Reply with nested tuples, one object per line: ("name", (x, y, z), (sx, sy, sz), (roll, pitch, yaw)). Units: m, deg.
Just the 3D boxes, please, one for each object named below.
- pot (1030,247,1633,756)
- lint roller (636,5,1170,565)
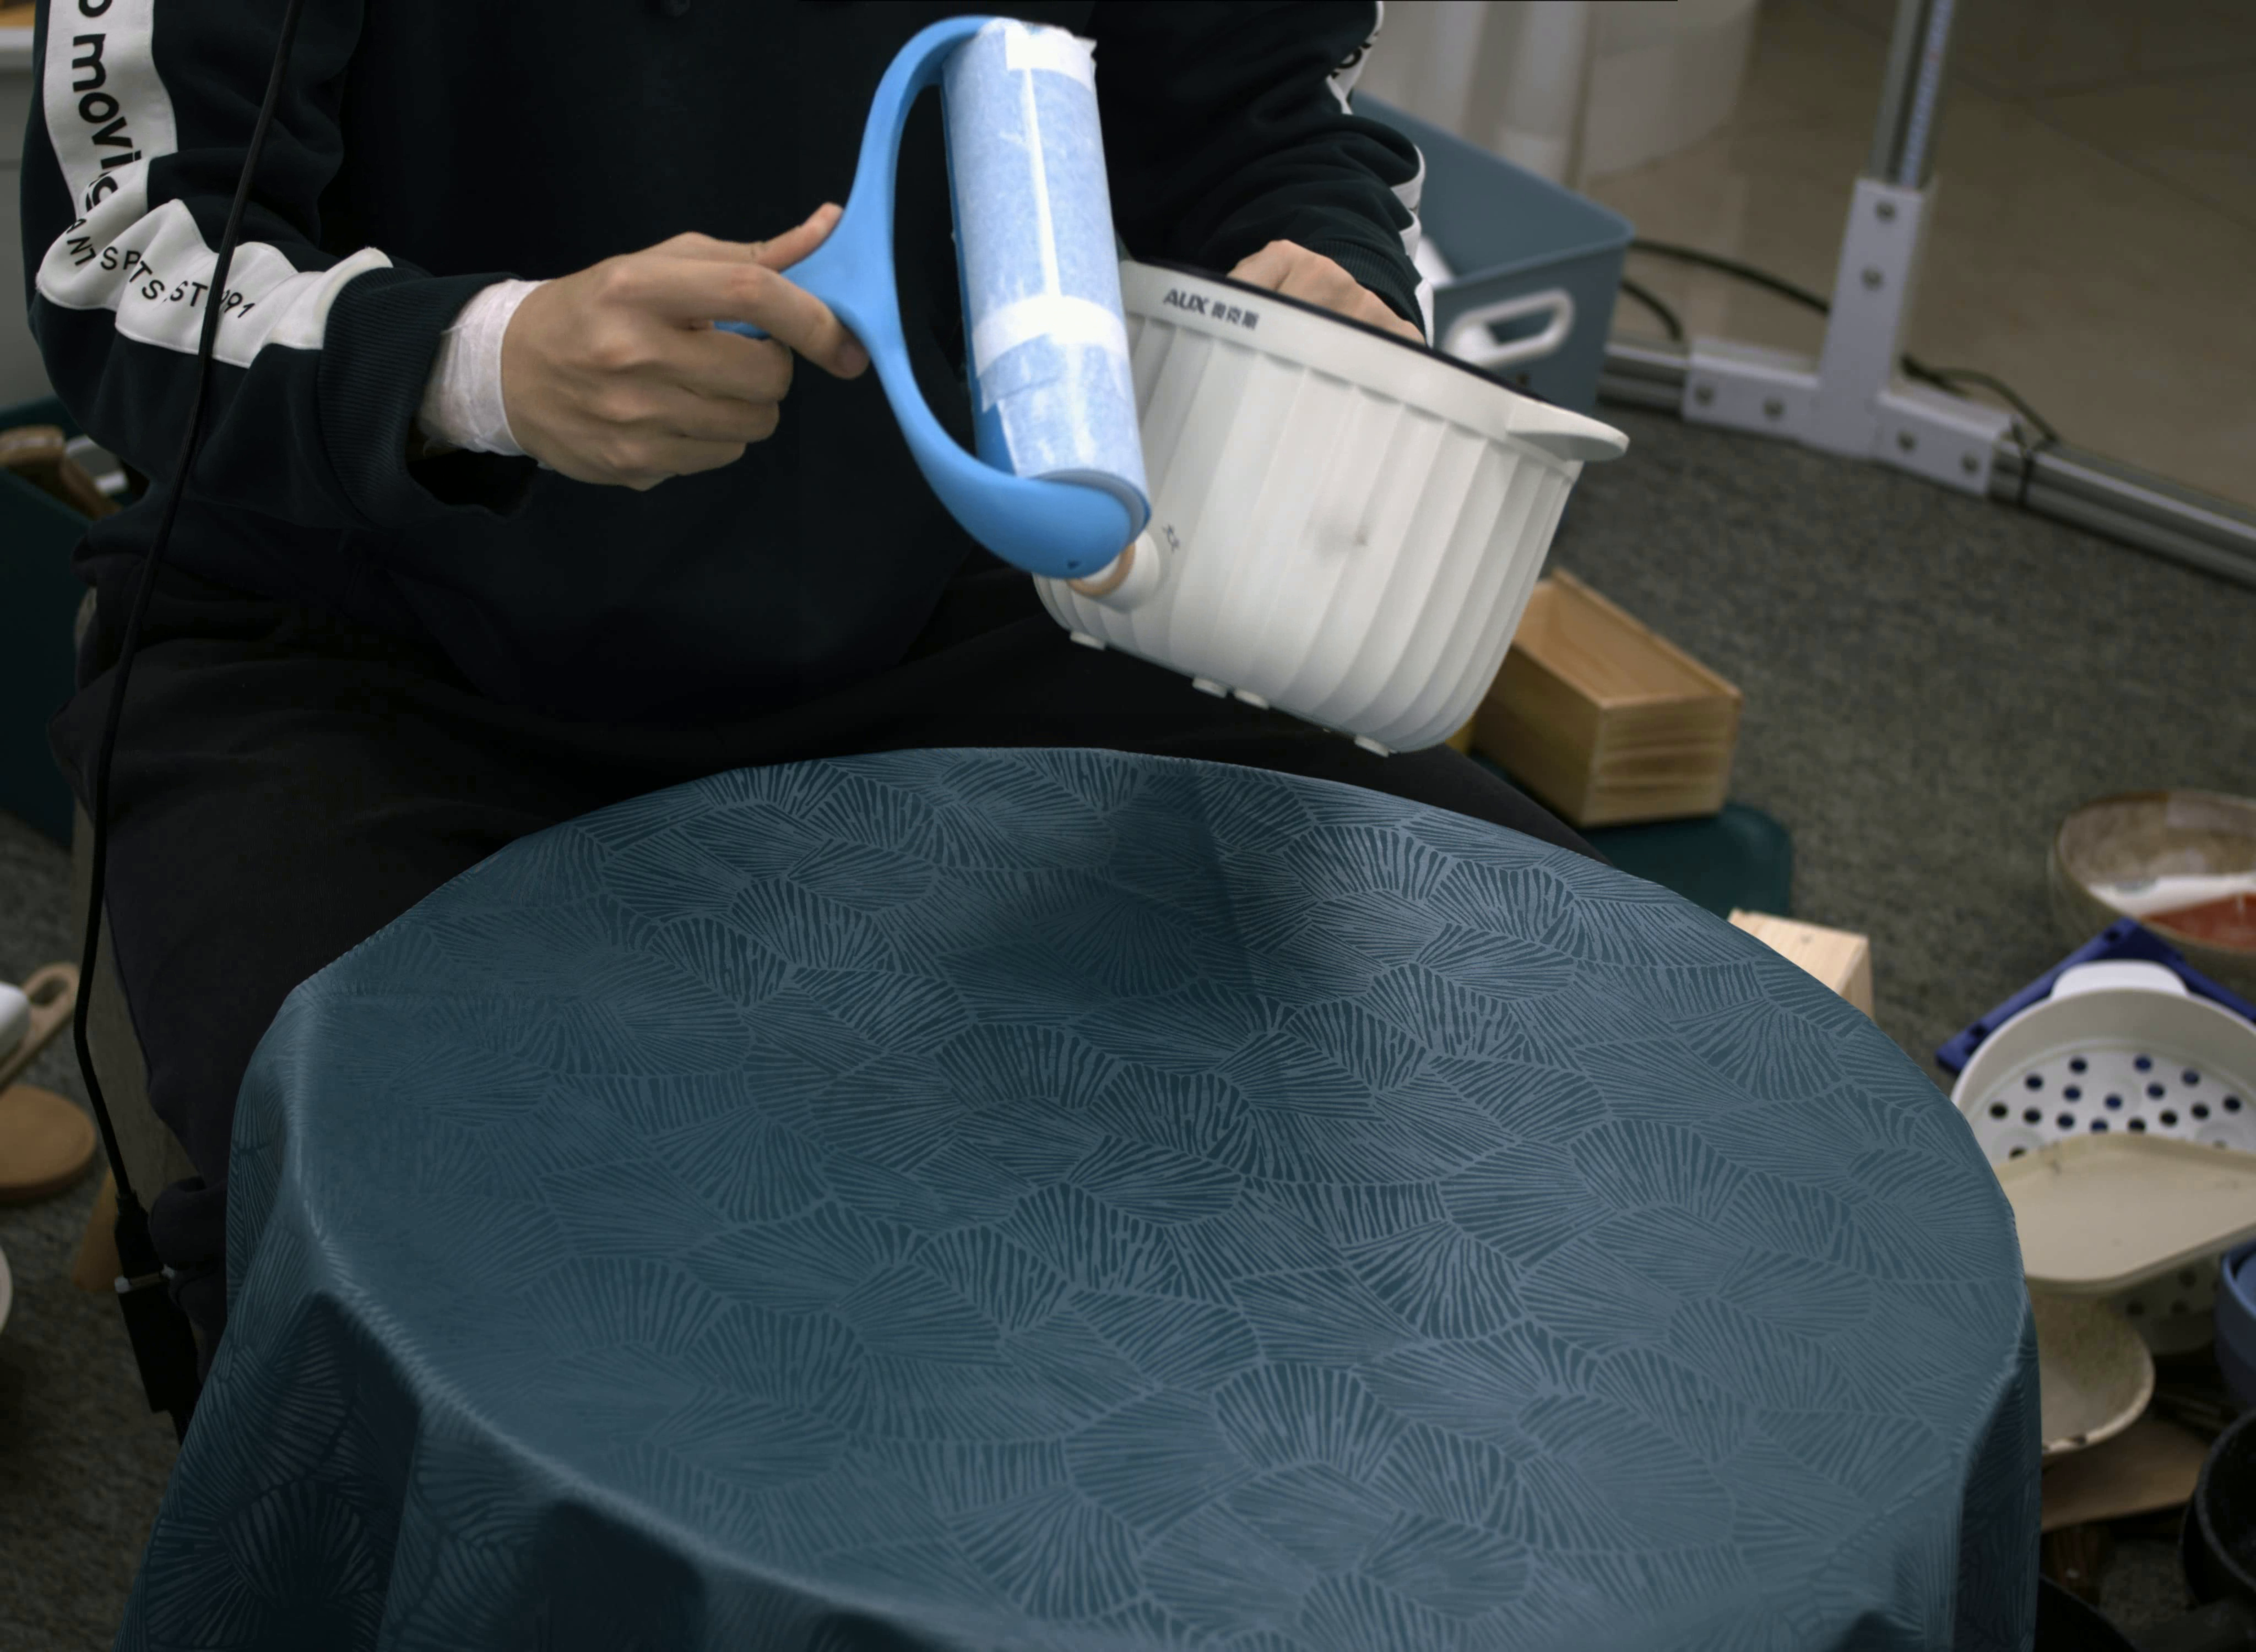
("pot", (0.057, -0.112, 1.902), (0.242, 0.143, 0.189), (18, -5, 37))
("lint roller", (-0.084, -0.167, 1.765), (0.180, 0.067, 0.231), (-15, 56, 4))
